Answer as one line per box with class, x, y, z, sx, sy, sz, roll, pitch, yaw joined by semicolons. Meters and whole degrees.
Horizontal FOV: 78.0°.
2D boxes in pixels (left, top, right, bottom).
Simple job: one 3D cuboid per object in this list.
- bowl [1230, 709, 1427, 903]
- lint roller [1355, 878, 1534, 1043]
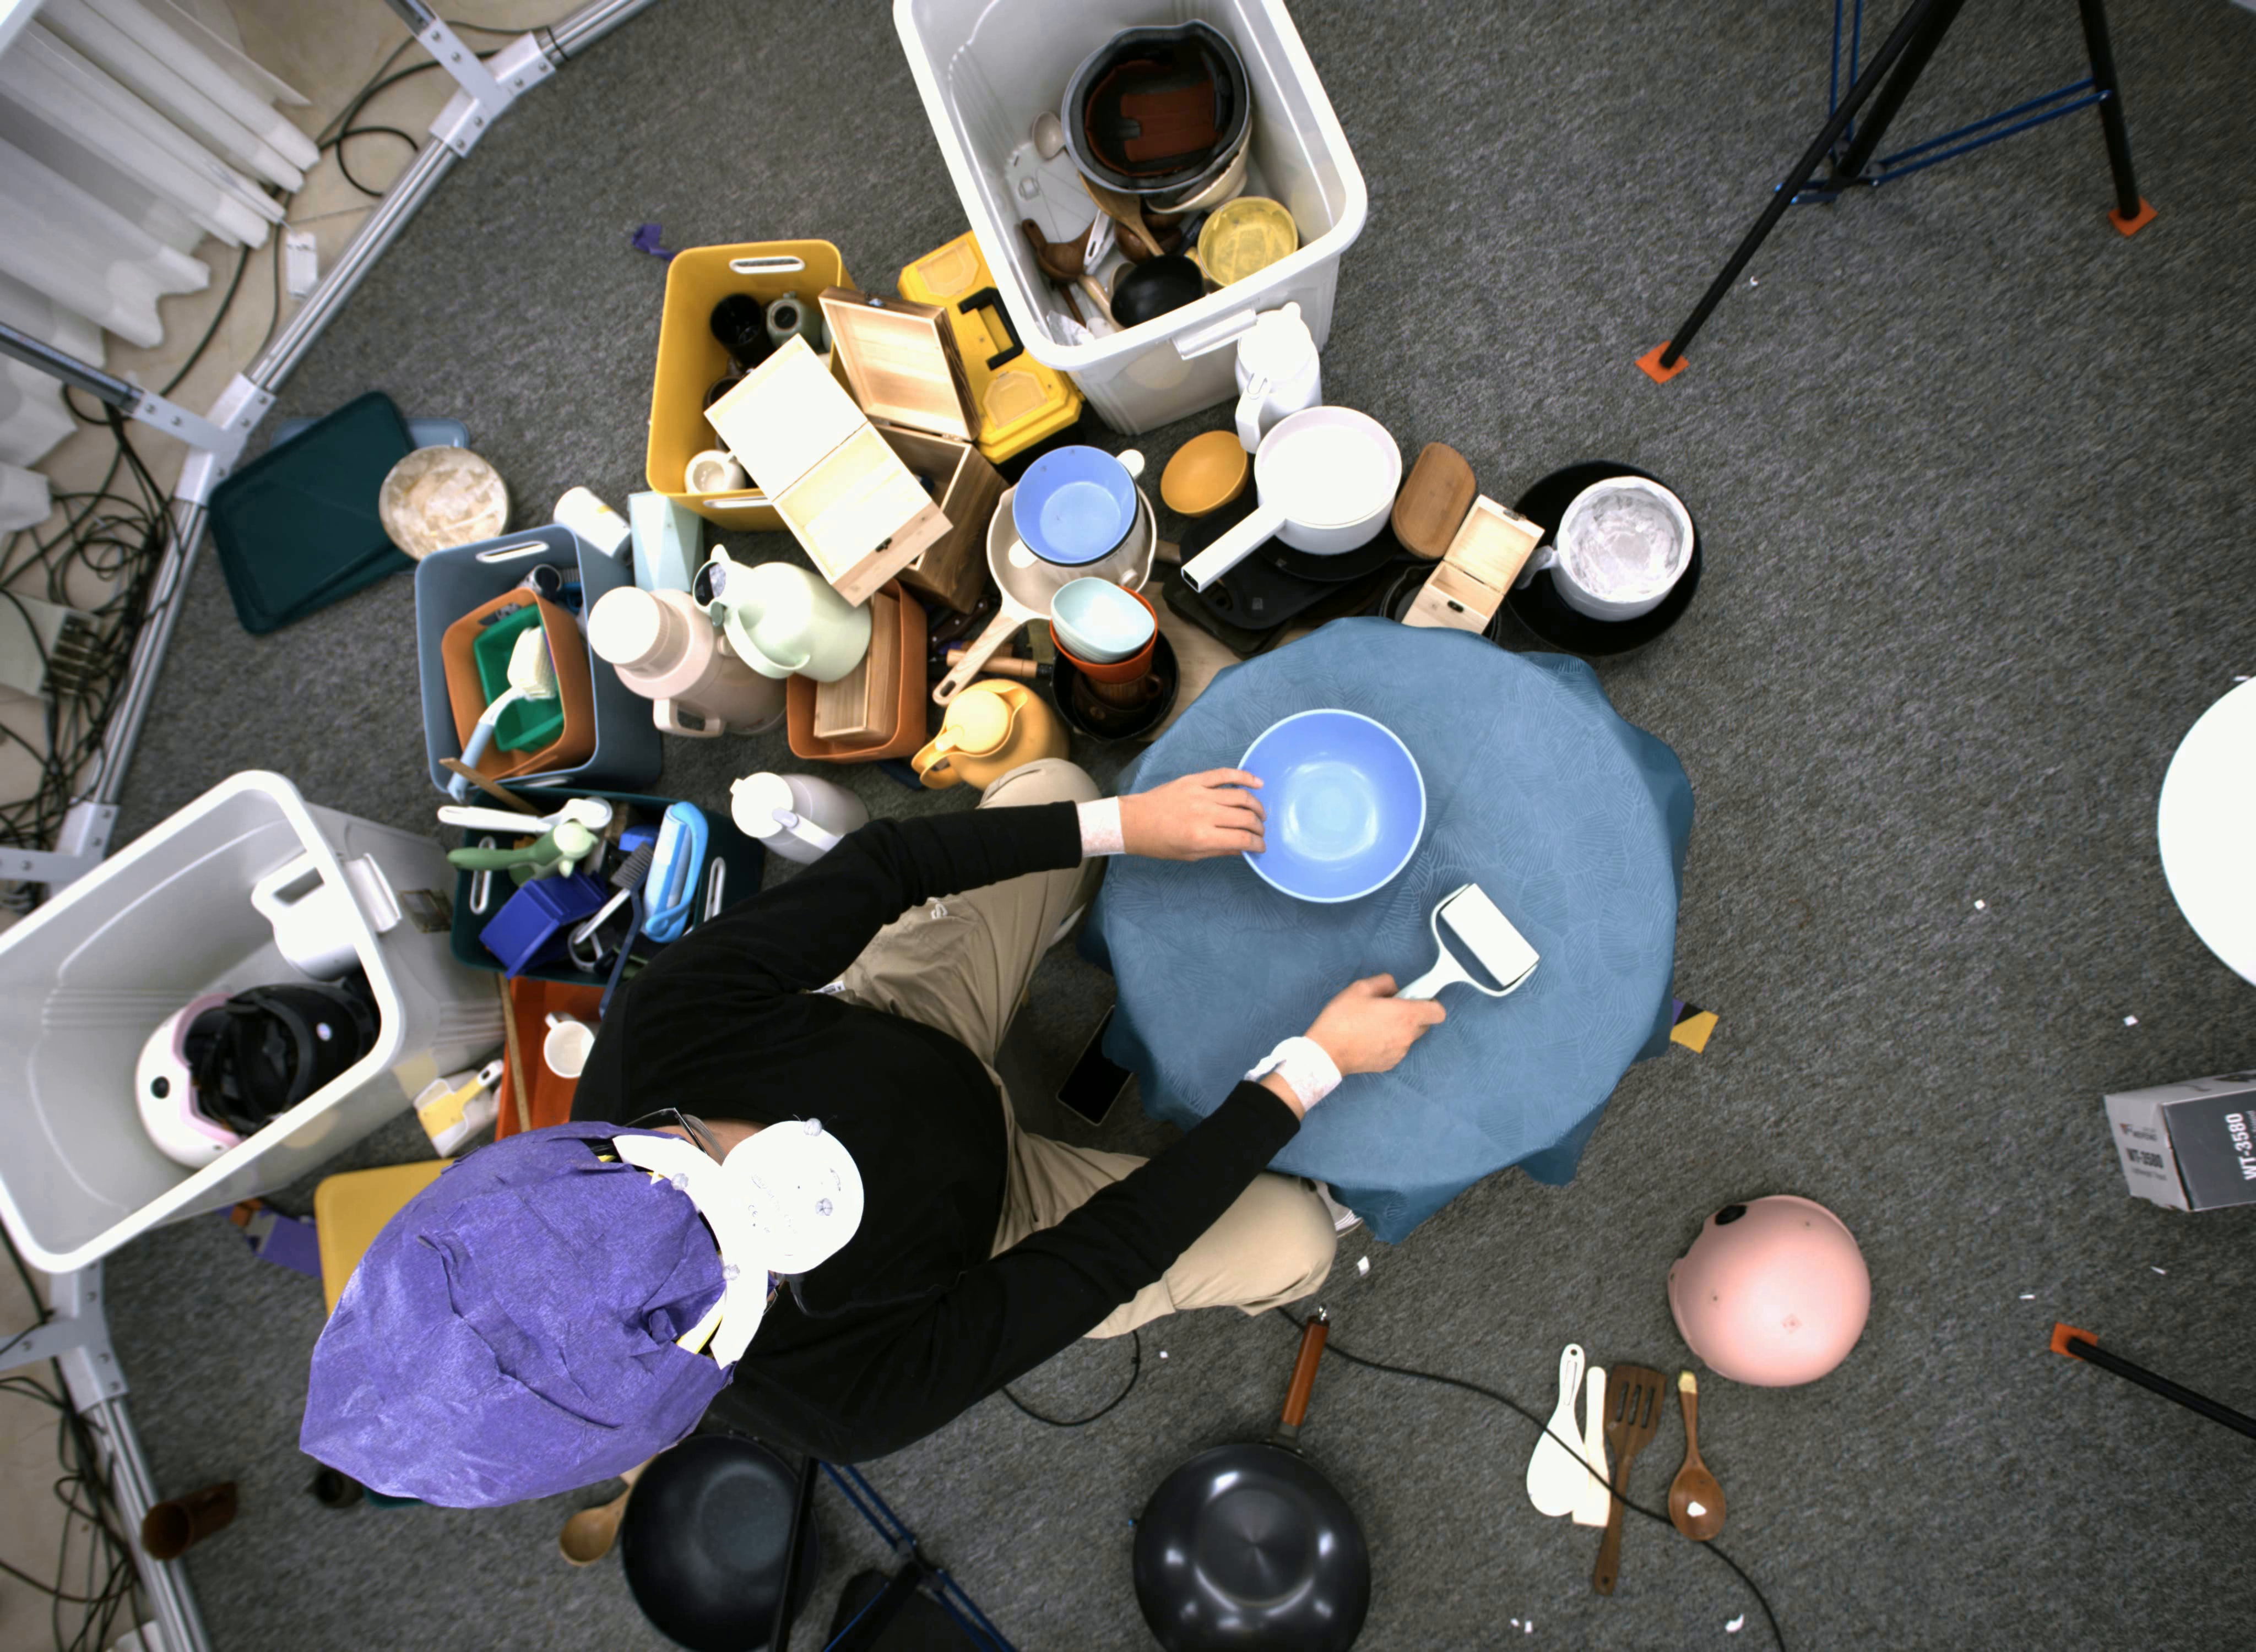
bowl;0.207;-0.018;1.428;0.197;0.095;0.196;-1;87;9
lint roller;0.309;0.150;1.415;0.197;0.049;0.116;-39;82;-2
